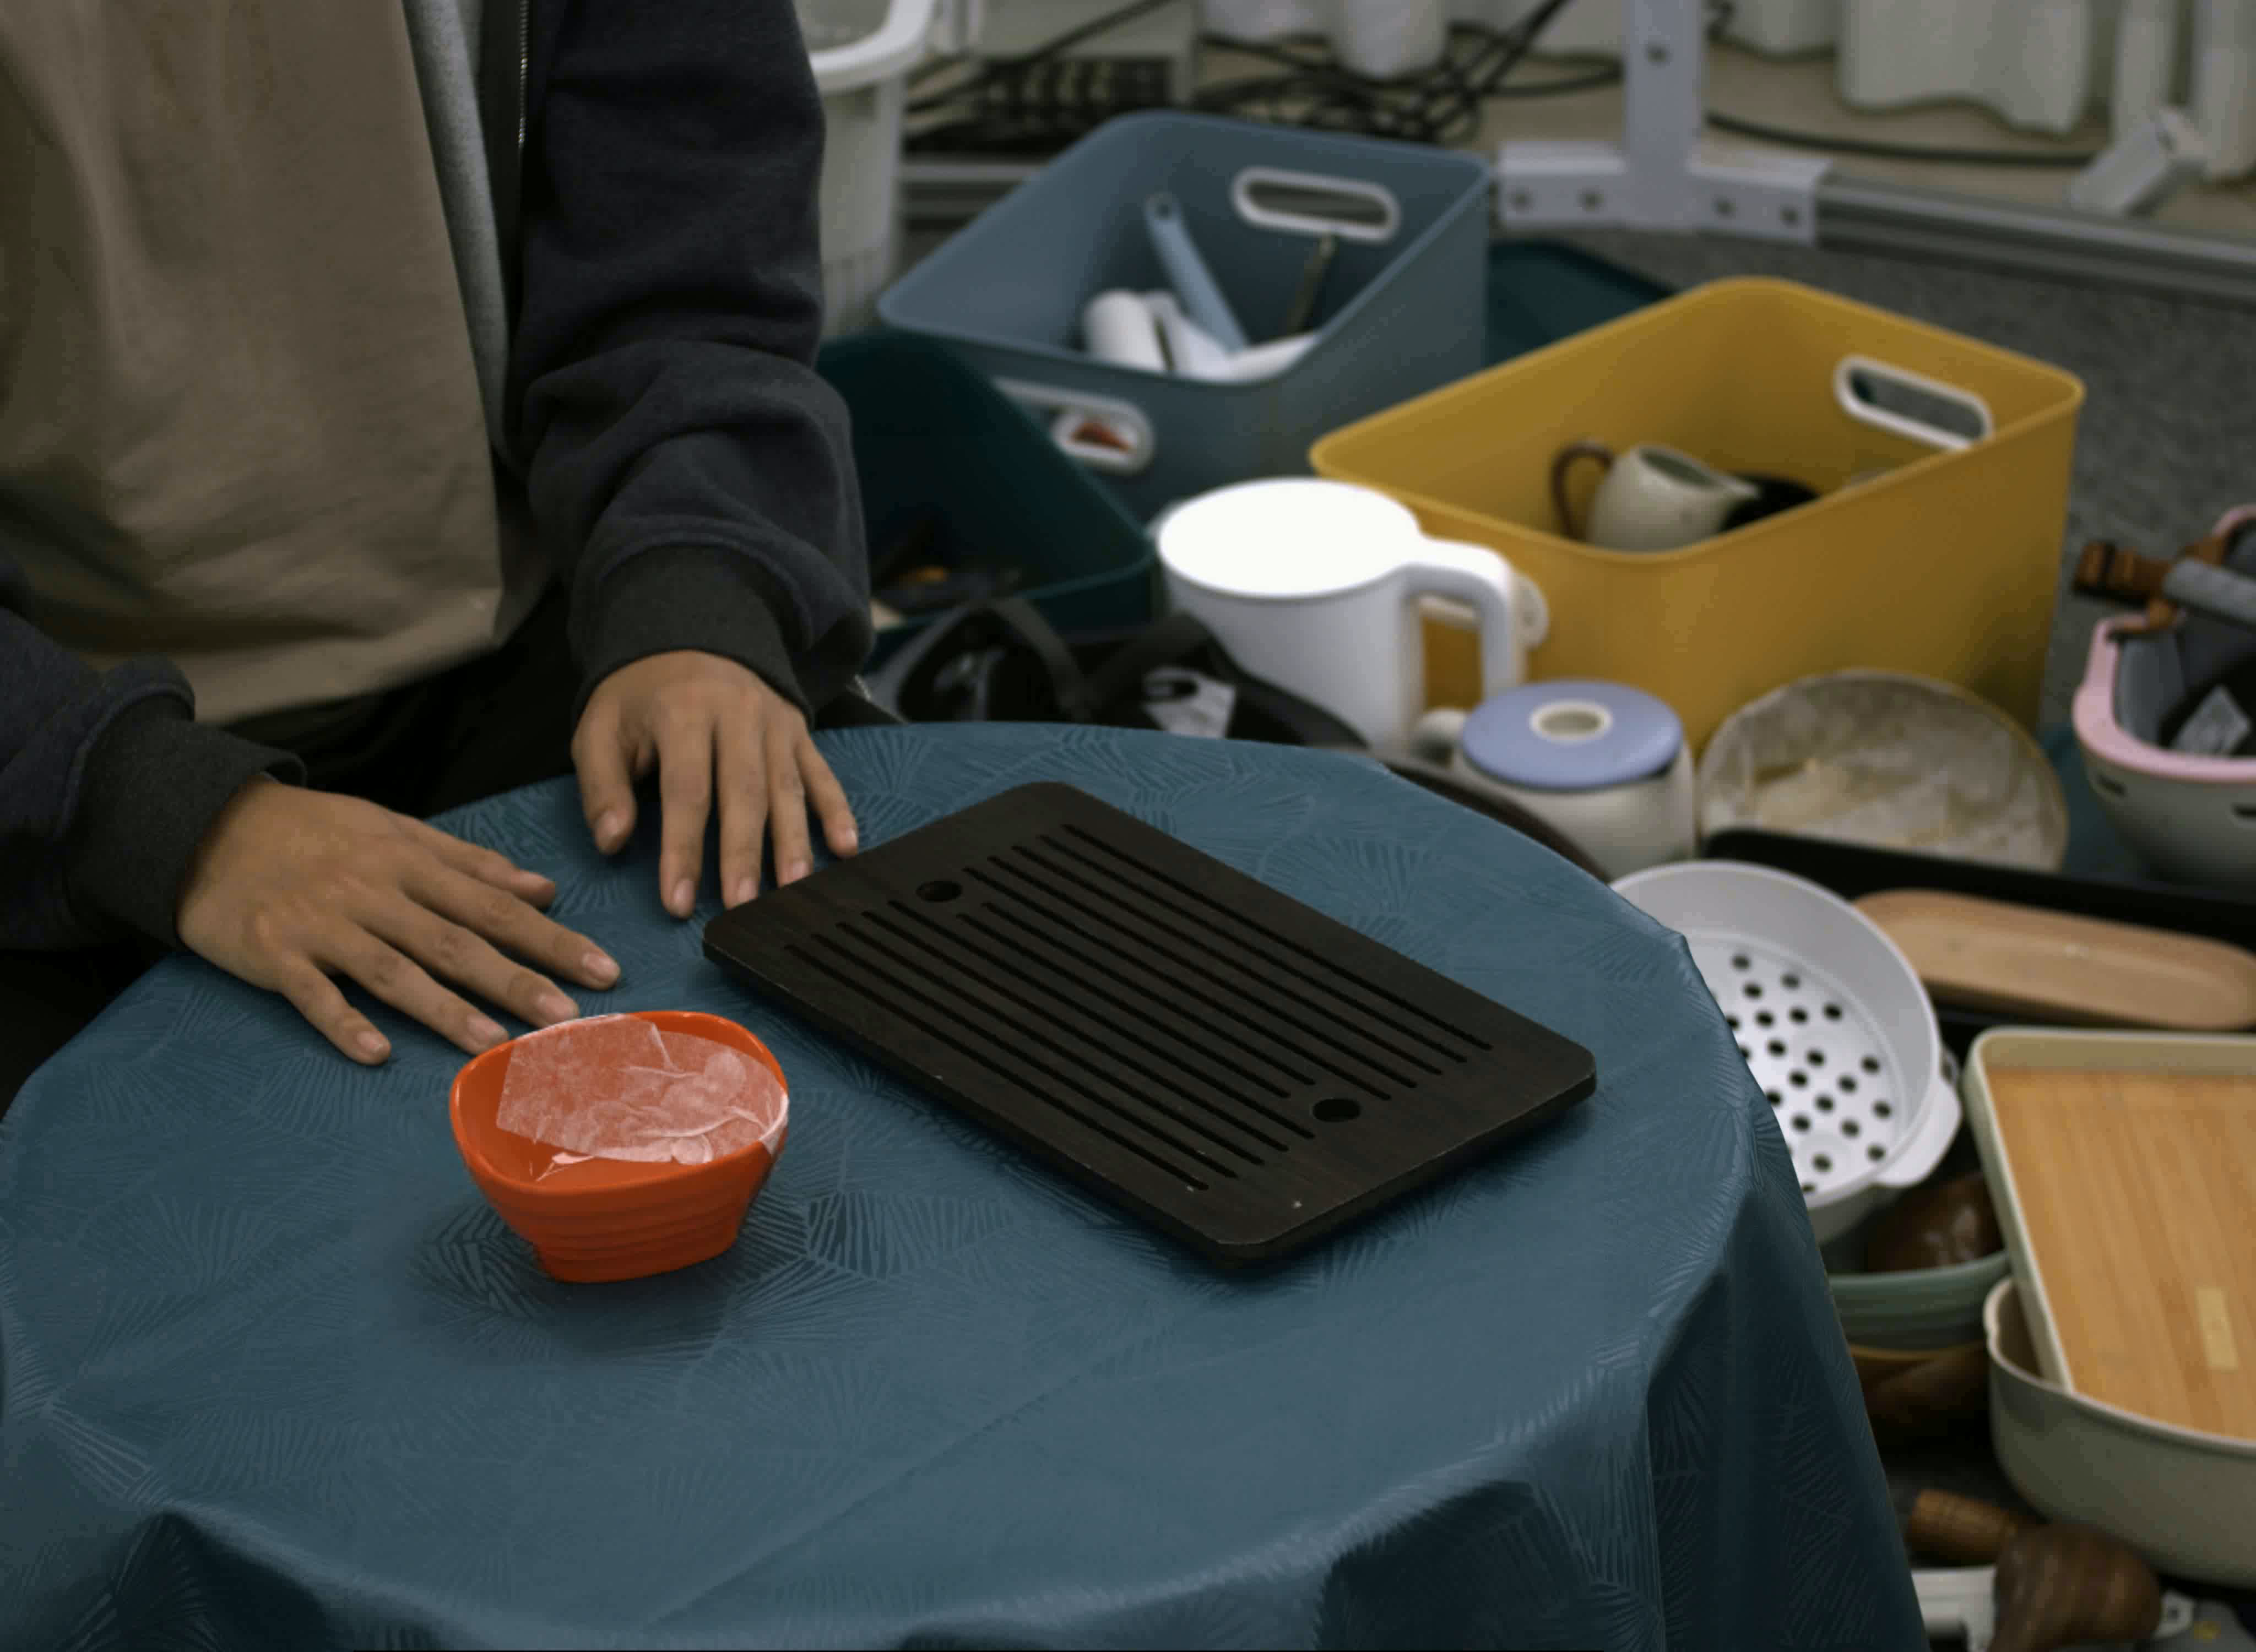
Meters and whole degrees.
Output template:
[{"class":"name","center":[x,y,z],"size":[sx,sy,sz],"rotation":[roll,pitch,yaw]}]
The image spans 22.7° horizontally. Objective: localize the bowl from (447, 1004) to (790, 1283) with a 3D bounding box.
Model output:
[{"class":"bowl","center":[-0.165,0.109,1.845],"size":[0.118,0.051,0.121],"rotation":[-3,28,2]}]

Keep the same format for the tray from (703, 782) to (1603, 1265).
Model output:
[{"class":"tray","center":[0.004,0.065,1.951],"size":[0.172,0.018,0.306],"rotation":[-23,33,-34]}]
